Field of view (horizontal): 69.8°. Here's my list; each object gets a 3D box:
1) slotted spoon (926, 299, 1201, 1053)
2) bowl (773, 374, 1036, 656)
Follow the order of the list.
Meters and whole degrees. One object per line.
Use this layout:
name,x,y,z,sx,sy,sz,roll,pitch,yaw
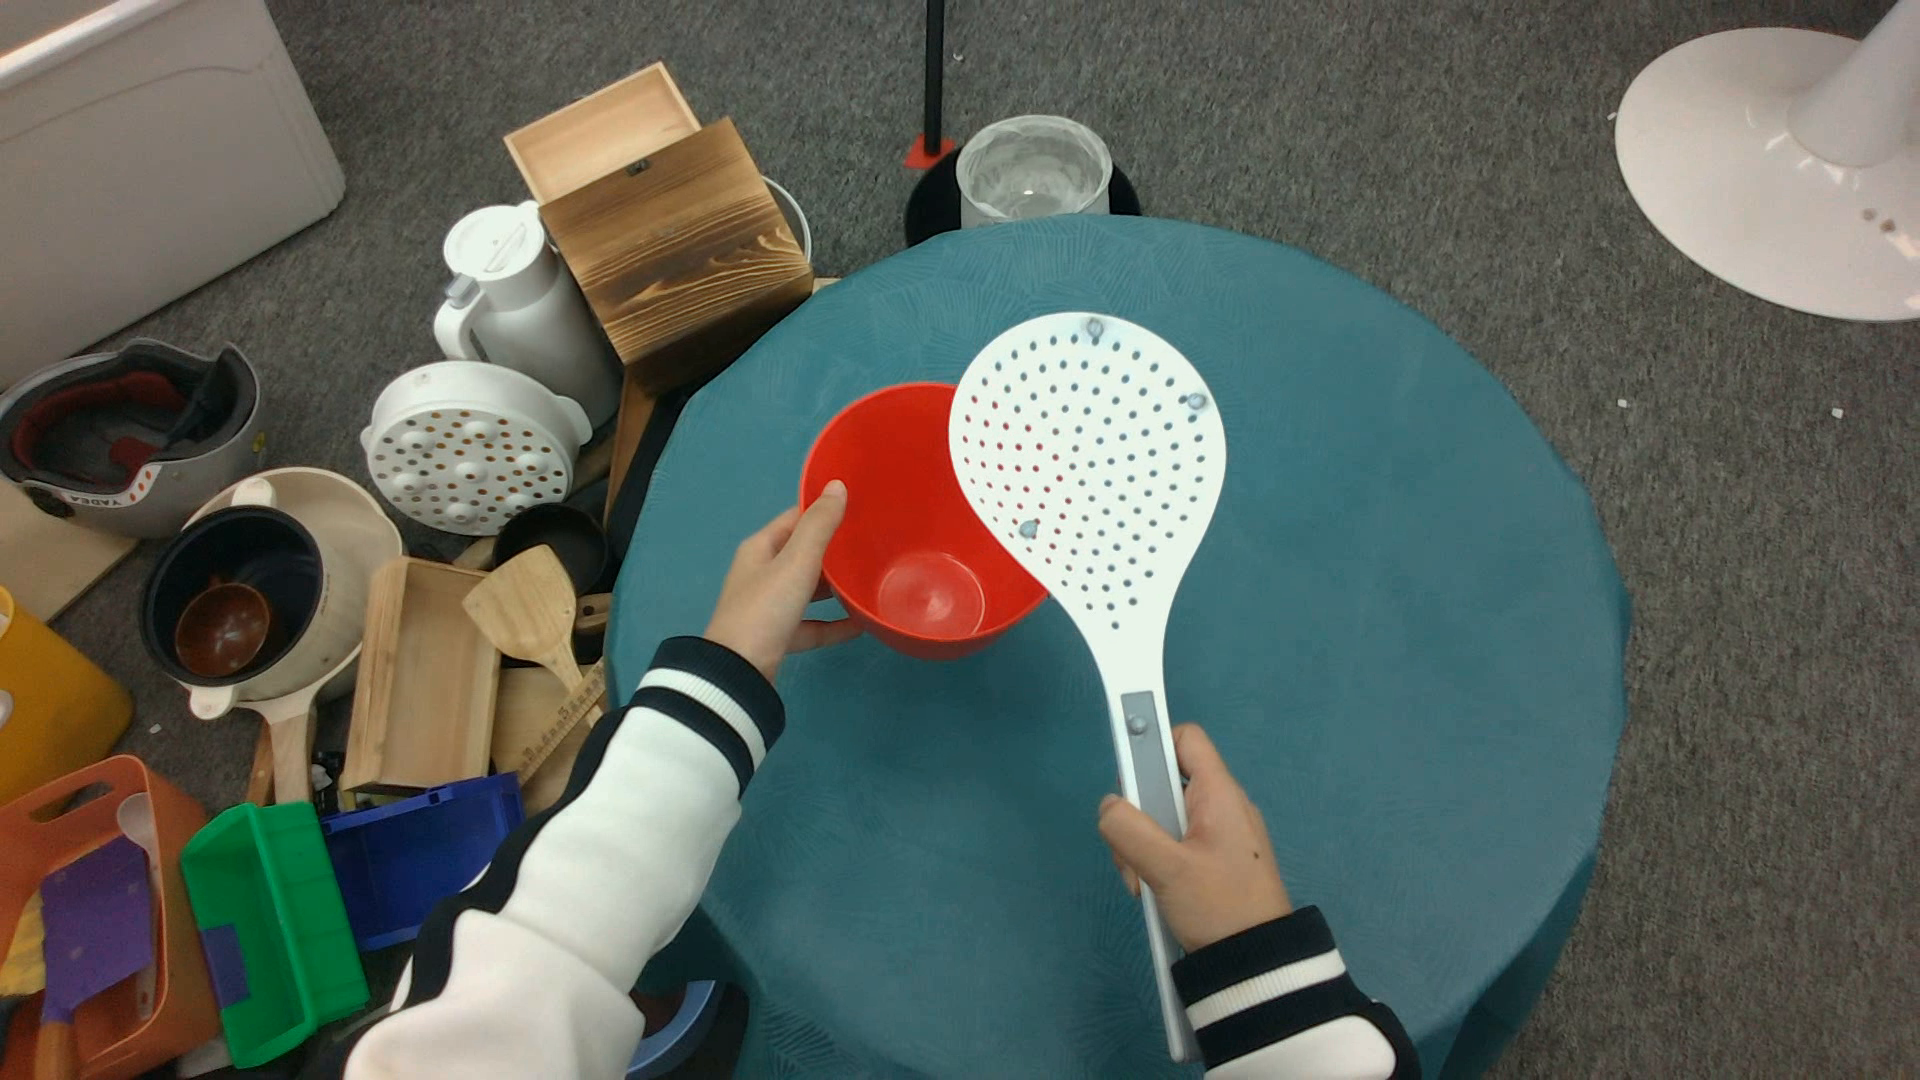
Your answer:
slotted spoon,0.065,0.052,0.639,0.136,0.045,0.350,-5,69,-11
bowl,-0.032,-0.001,0.757,0.148,0.104,0.148,6,57,-9
